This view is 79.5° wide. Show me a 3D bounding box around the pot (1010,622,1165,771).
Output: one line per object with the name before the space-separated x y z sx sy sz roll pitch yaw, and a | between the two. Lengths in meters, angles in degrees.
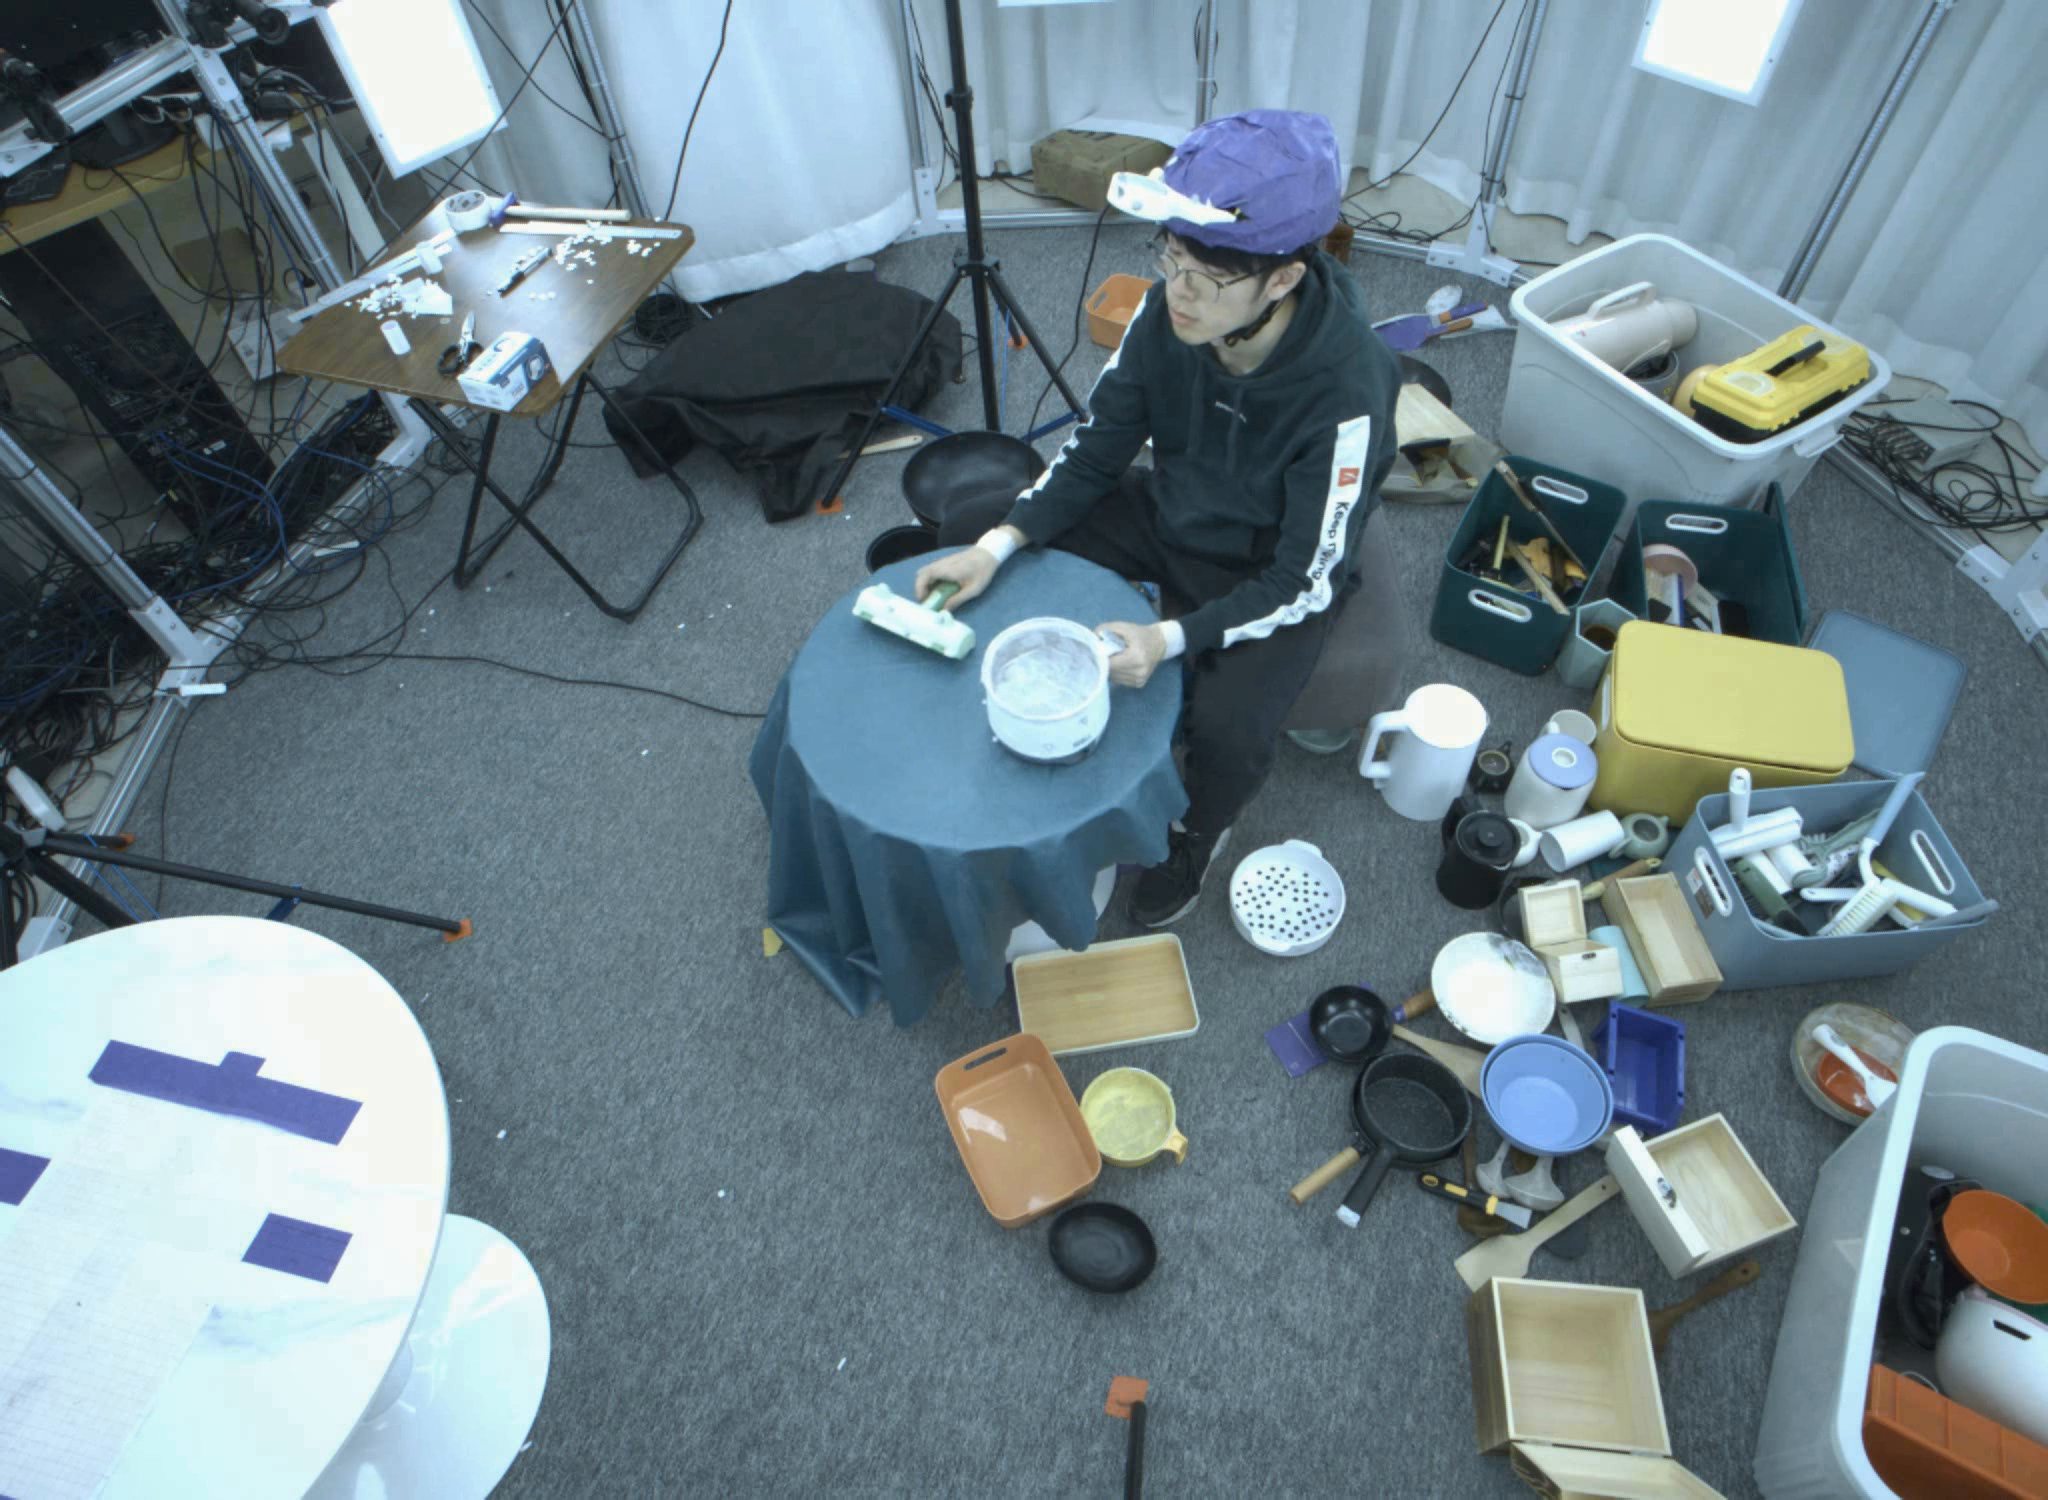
pot | 0.098 -0.086 1.749 0.235 0.138 0.175 -30 62 -14

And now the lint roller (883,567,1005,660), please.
lint roller | -0.093 -0.241 1.909 0.195 0.083 0.184 27 64 20
